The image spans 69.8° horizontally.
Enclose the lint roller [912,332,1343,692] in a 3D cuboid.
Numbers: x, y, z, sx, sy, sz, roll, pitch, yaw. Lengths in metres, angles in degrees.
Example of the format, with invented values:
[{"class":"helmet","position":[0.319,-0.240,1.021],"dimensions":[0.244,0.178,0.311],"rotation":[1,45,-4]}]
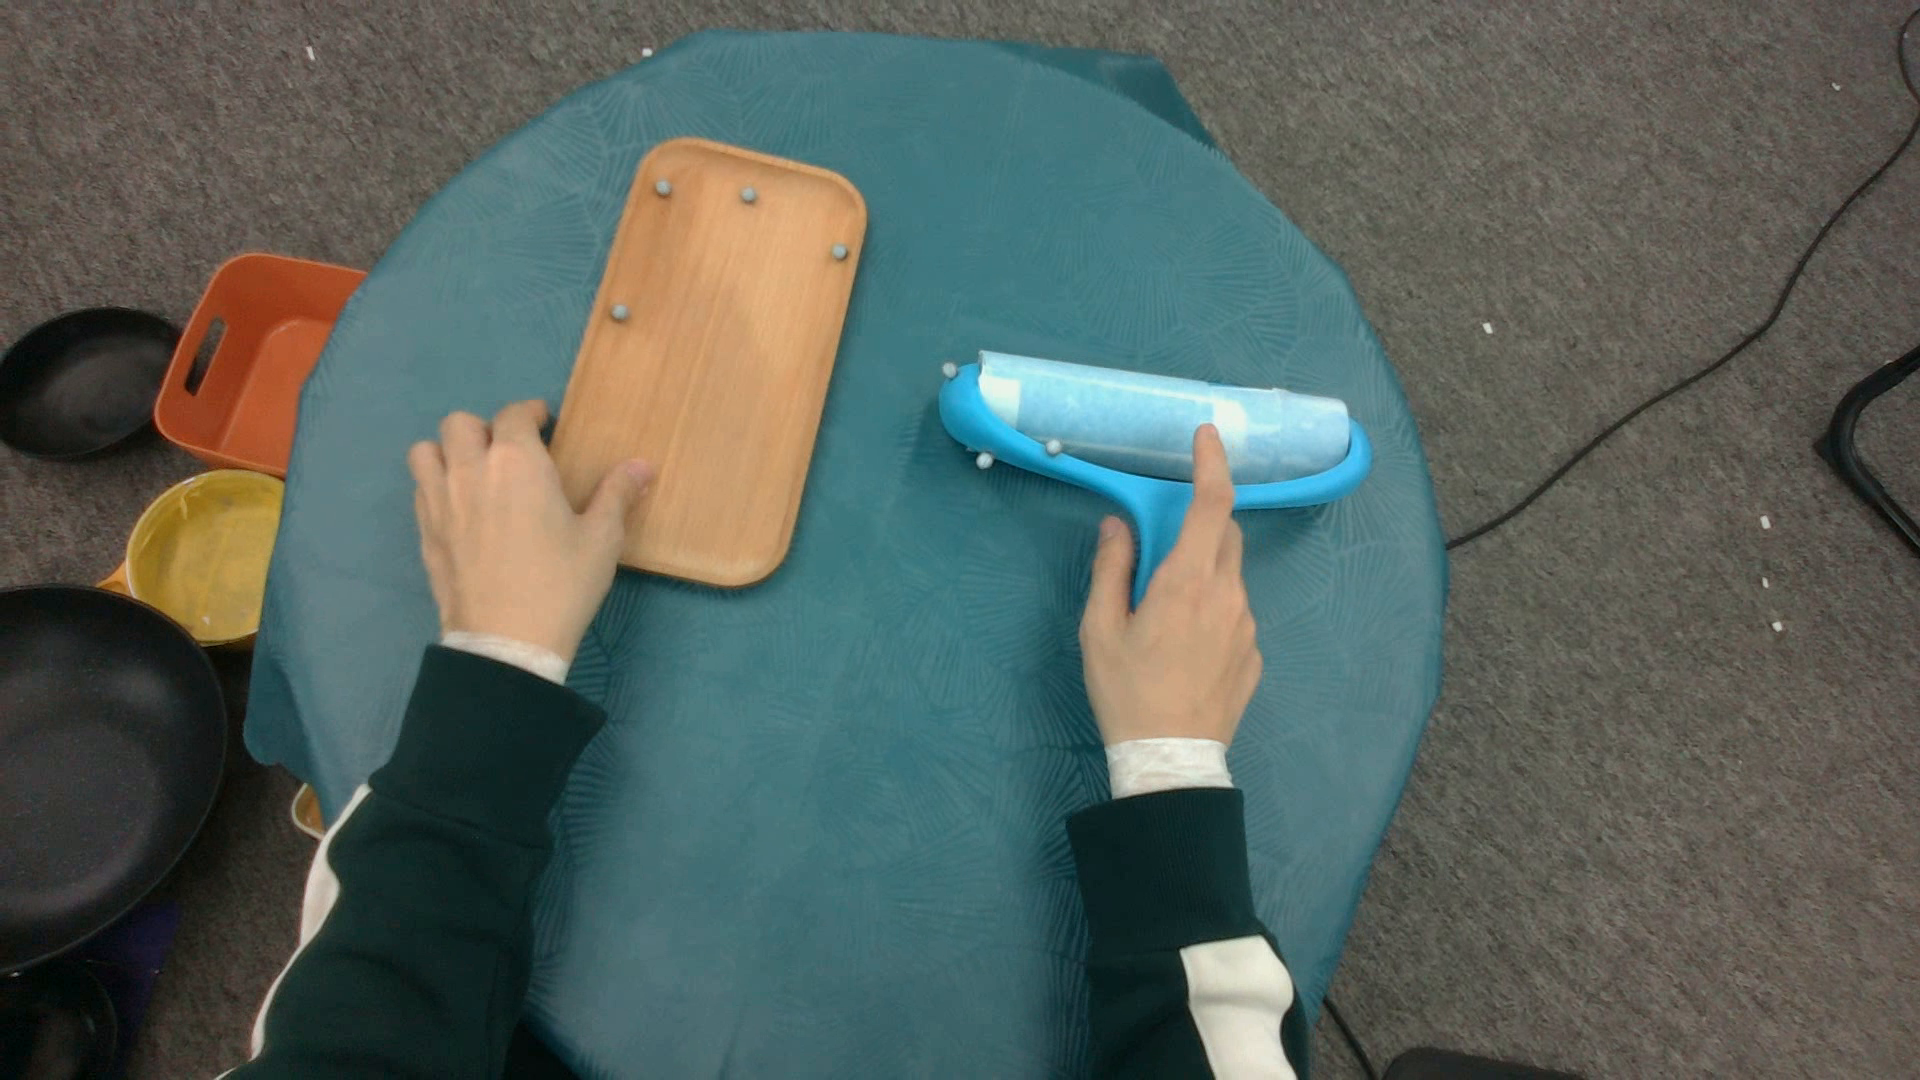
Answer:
[{"class":"lint roller","position":[0.088,-0.017,0.702],"dimensions":[0.229,0.067,0.181],"rotation":[4,67,-8]}]

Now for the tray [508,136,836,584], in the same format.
[{"class":"tray","position":[-0.145,-0.099,0.721],"dimensions":[0.130,0.023,0.251],"rotation":[10,68,-2]}]
